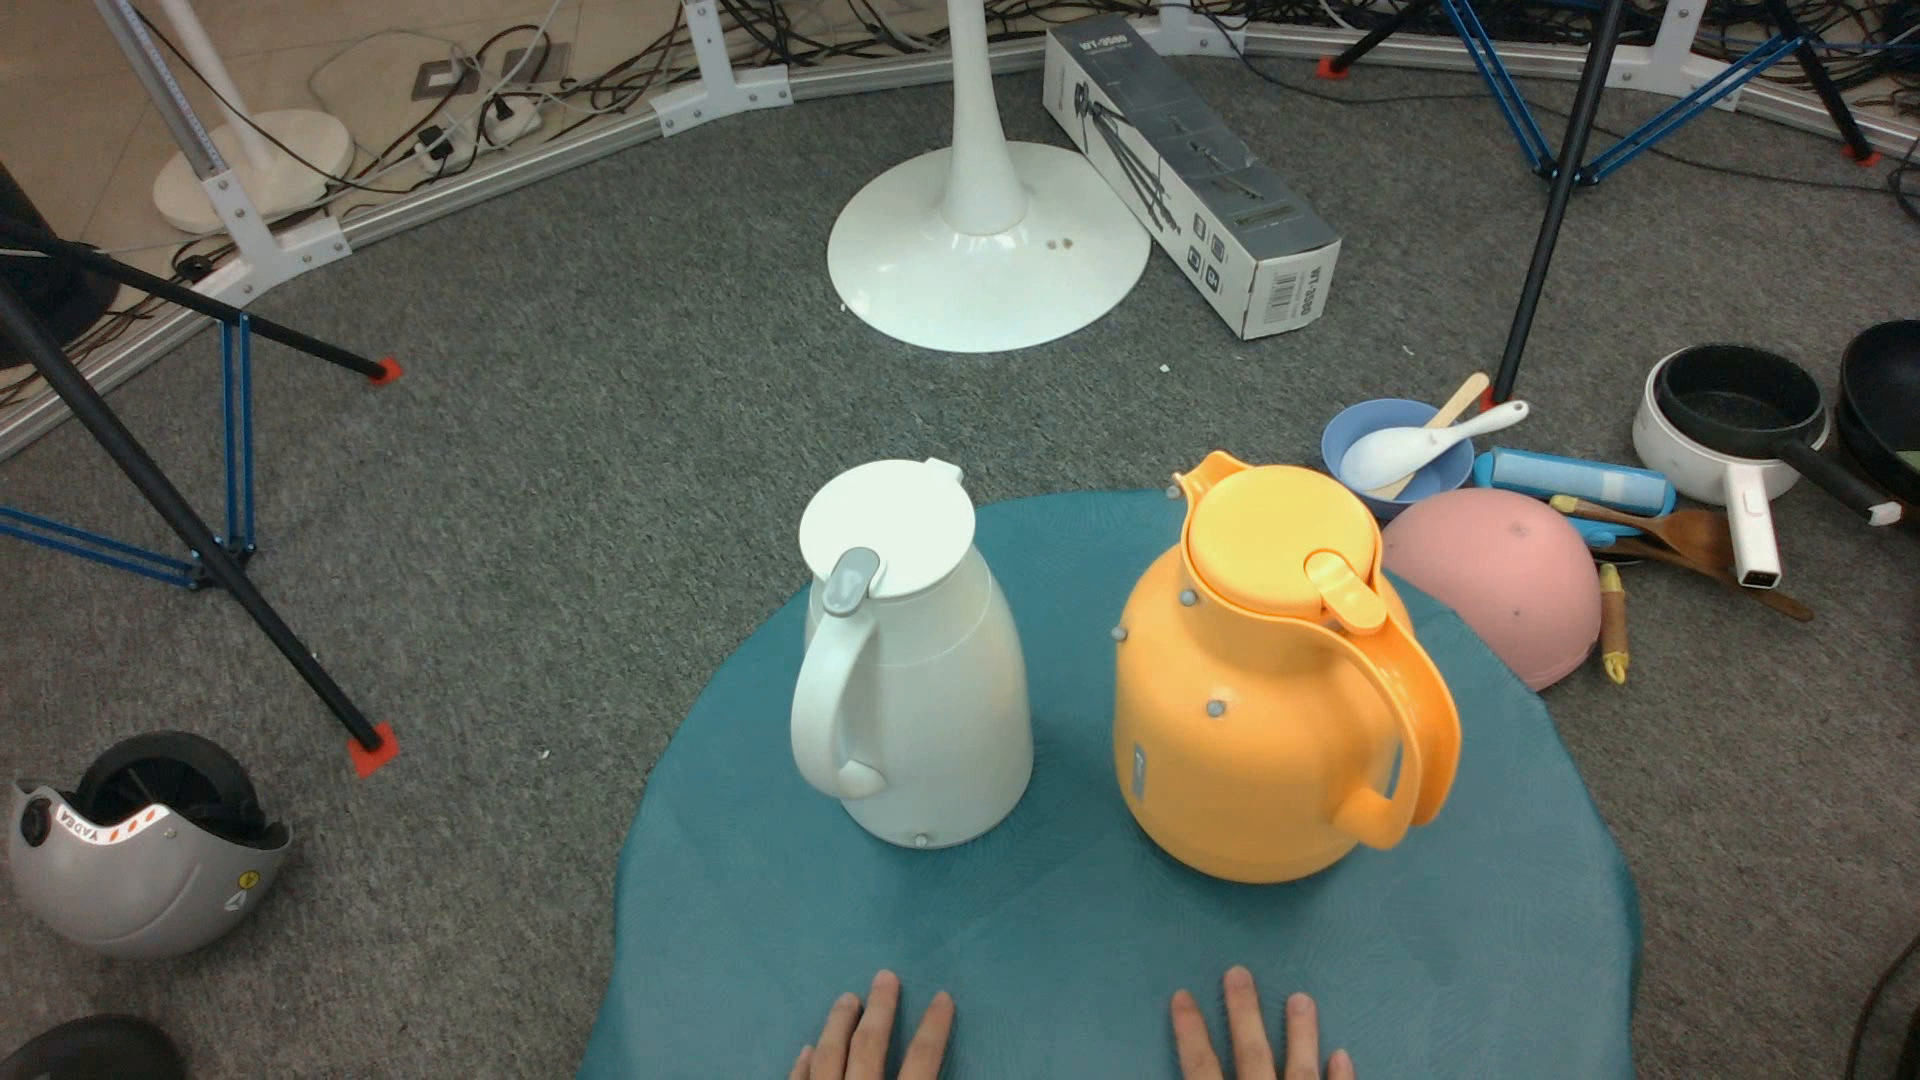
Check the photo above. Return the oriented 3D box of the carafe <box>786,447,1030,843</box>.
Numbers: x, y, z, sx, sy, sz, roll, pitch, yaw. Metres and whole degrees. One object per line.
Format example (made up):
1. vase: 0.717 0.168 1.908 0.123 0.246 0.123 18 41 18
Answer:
1. carafe: -0.038 0.073 0.784 0.132 0.247 0.168 19 56 20

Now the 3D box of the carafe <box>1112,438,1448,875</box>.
1. carafe: 0.174 0.078 0.753 0.164 0.259 0.203 -28 52 -13
